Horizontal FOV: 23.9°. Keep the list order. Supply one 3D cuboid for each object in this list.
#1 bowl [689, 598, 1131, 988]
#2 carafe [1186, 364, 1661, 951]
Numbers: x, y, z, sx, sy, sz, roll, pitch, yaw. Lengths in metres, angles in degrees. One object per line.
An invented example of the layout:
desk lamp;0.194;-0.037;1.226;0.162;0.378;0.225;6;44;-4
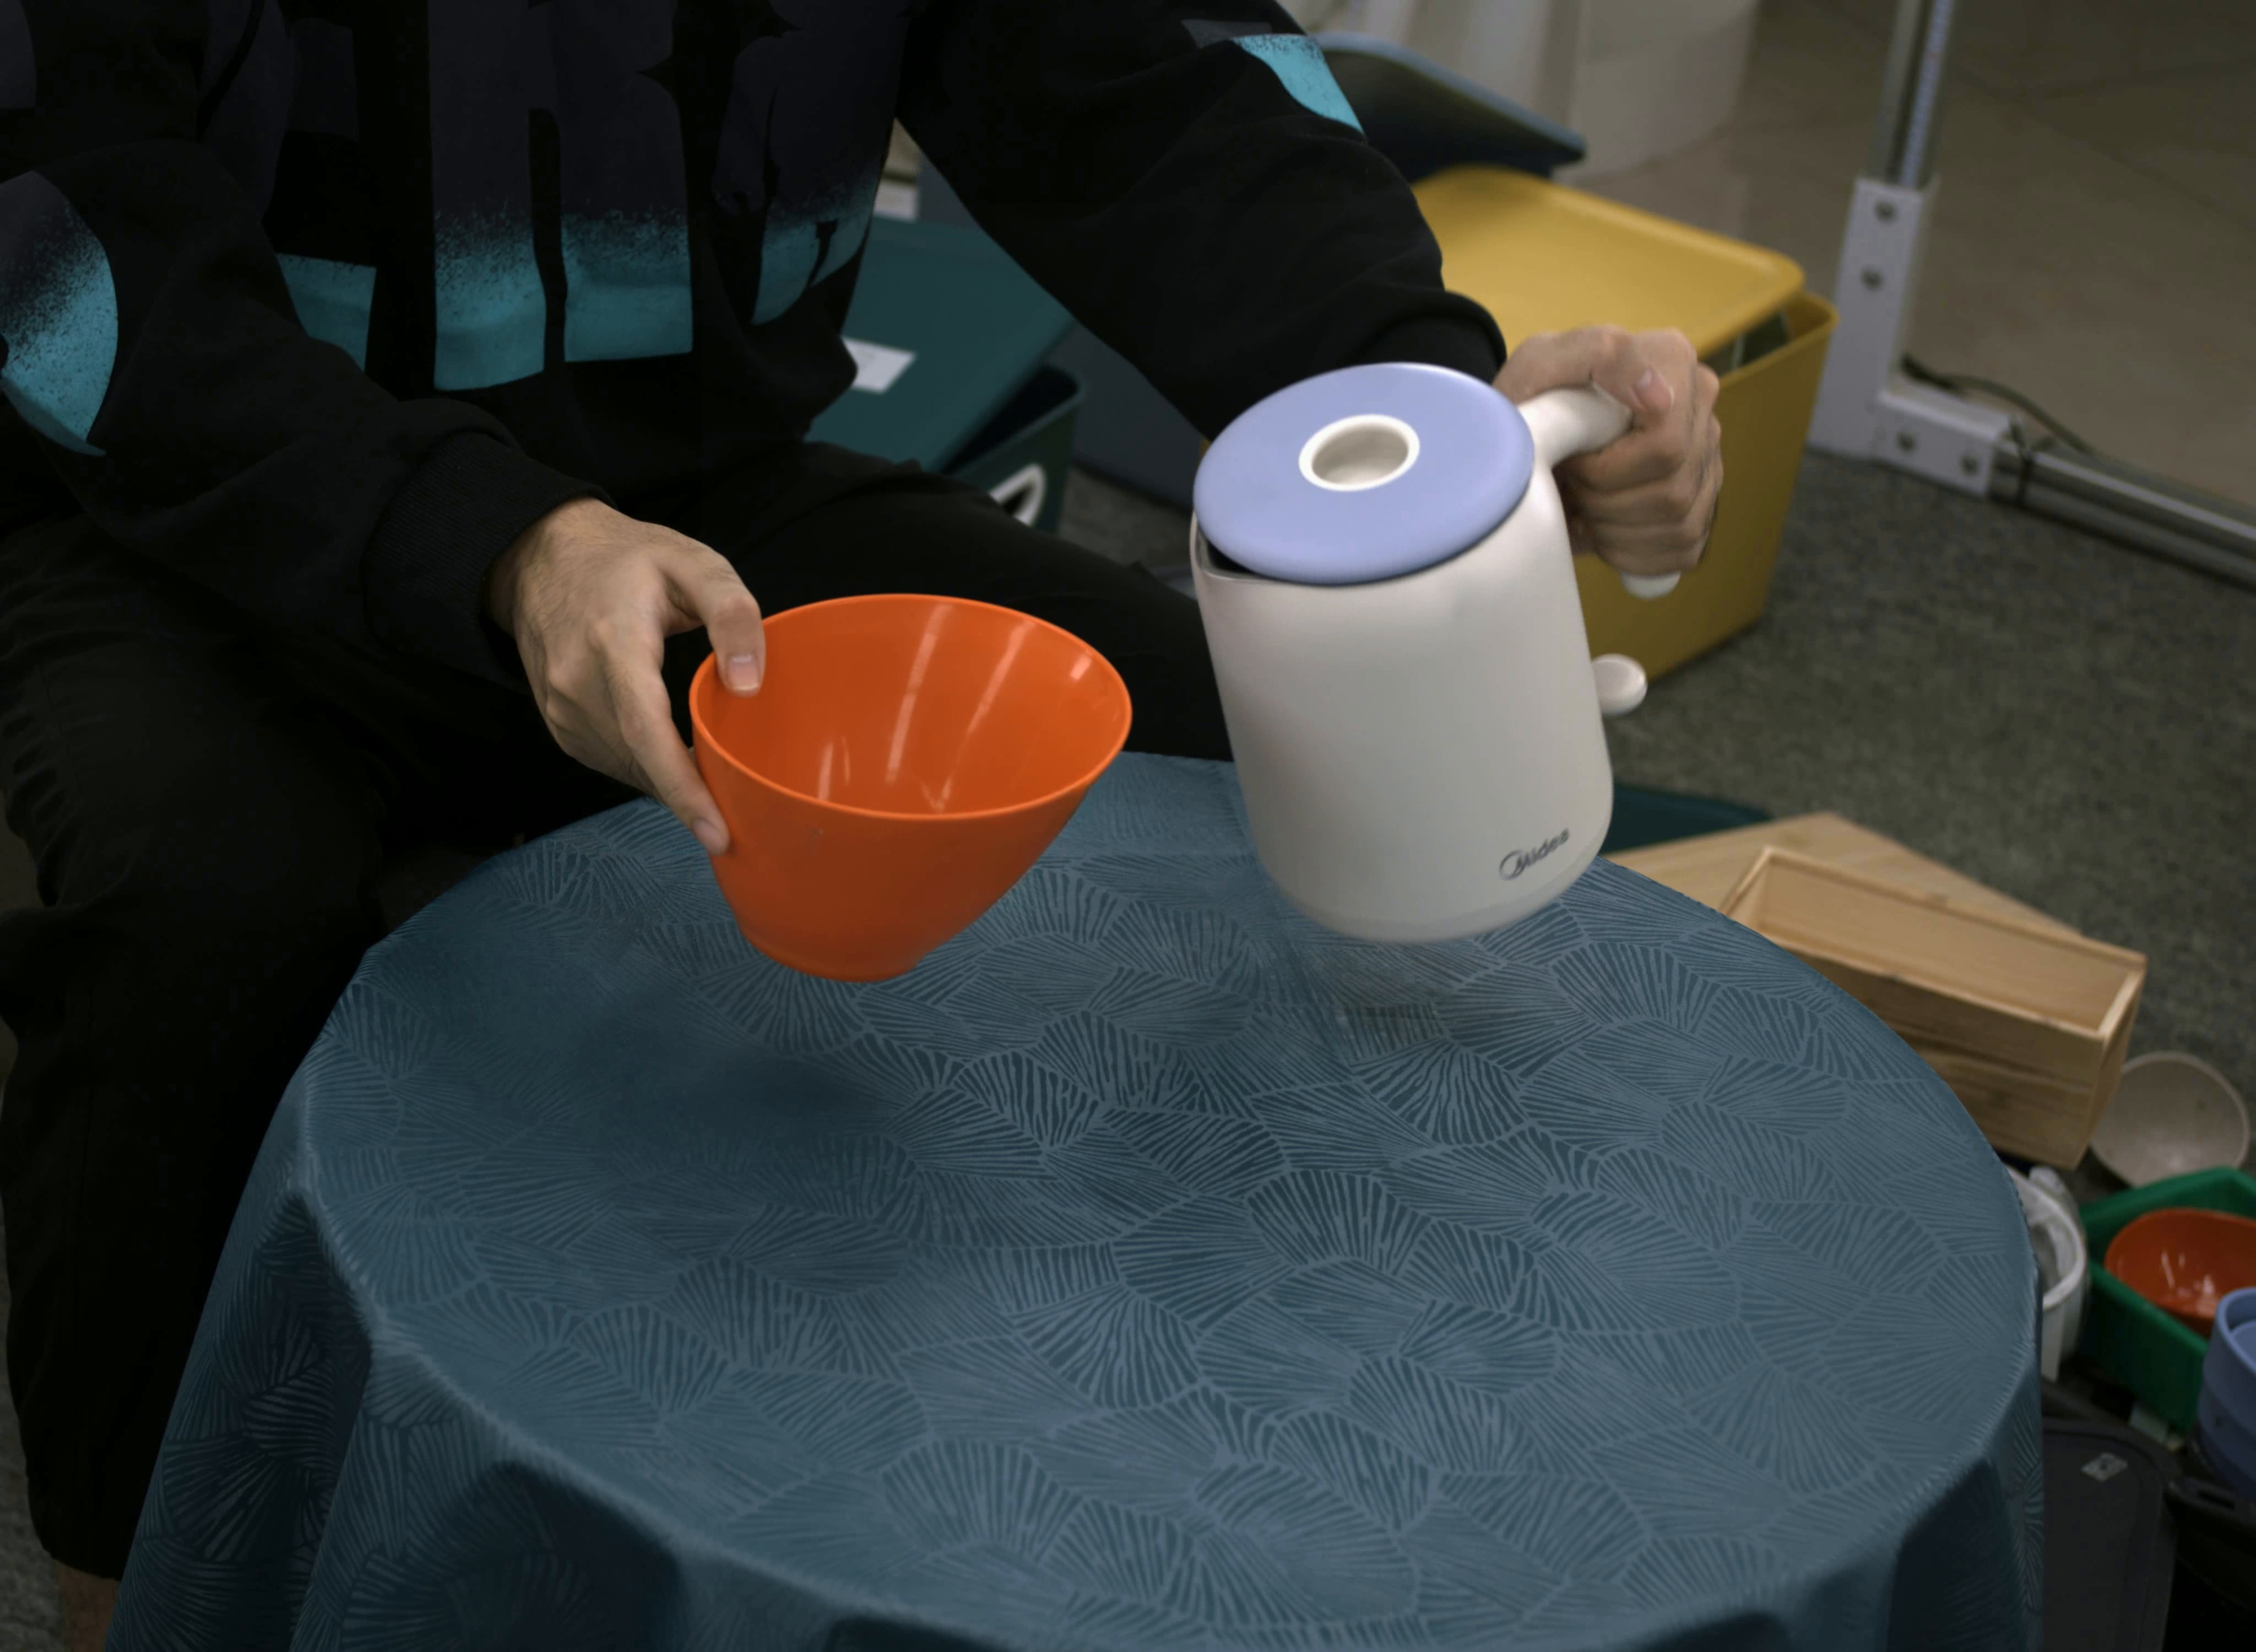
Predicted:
bowl;-0.082;-0.005;1.809;0.147;0.104;0.149;11;28;-6
carafe;0.113;-0.070;1.878;0.190;0.181;0.133;-29;42;-23
